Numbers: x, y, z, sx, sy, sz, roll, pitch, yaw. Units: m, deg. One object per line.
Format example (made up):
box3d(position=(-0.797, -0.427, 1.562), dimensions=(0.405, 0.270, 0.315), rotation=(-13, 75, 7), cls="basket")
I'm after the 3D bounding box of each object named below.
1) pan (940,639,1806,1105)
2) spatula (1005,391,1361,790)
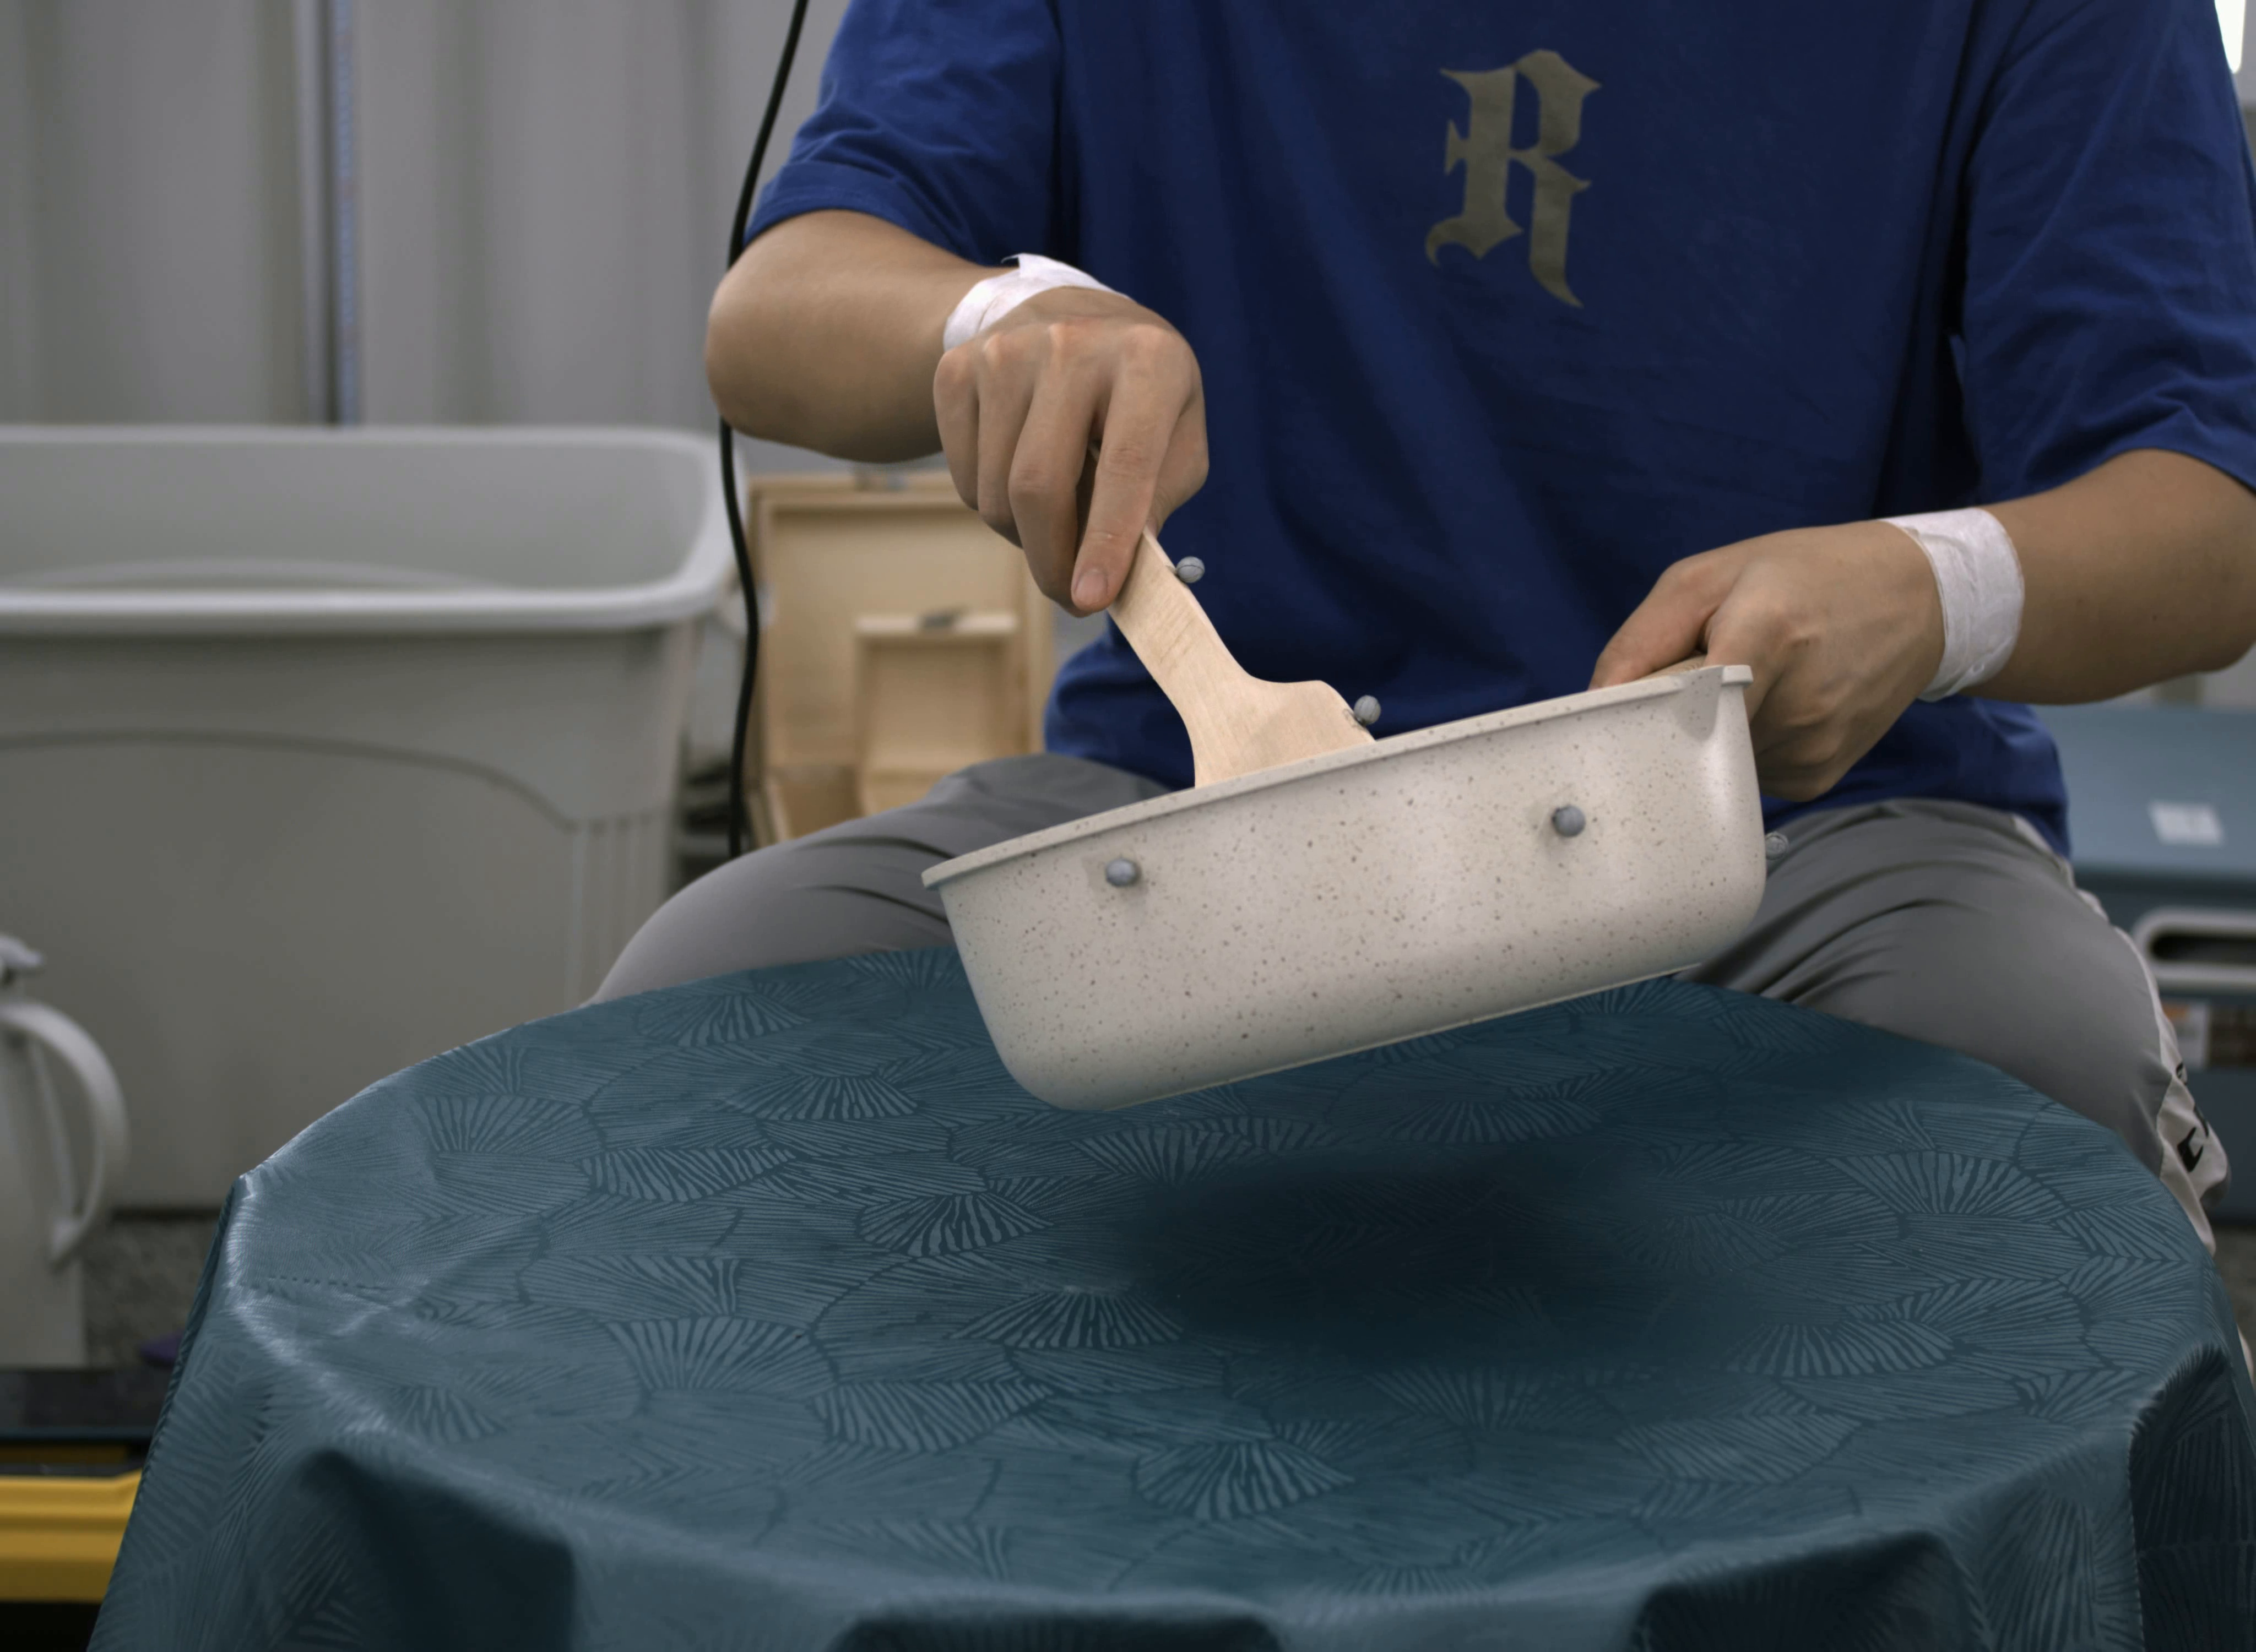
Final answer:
box3d(position=(0.122, 0.004, 1.619), dimensions=(0.261, 0.102, 0.437), rotation=(-17, -4, 32), cls="pan")
box3d(position=(0.016, -0.056, 1.647), dimensions=(0.011, 0.072, 0.289), rotation=(24, 22, -37), cls="spatula")
